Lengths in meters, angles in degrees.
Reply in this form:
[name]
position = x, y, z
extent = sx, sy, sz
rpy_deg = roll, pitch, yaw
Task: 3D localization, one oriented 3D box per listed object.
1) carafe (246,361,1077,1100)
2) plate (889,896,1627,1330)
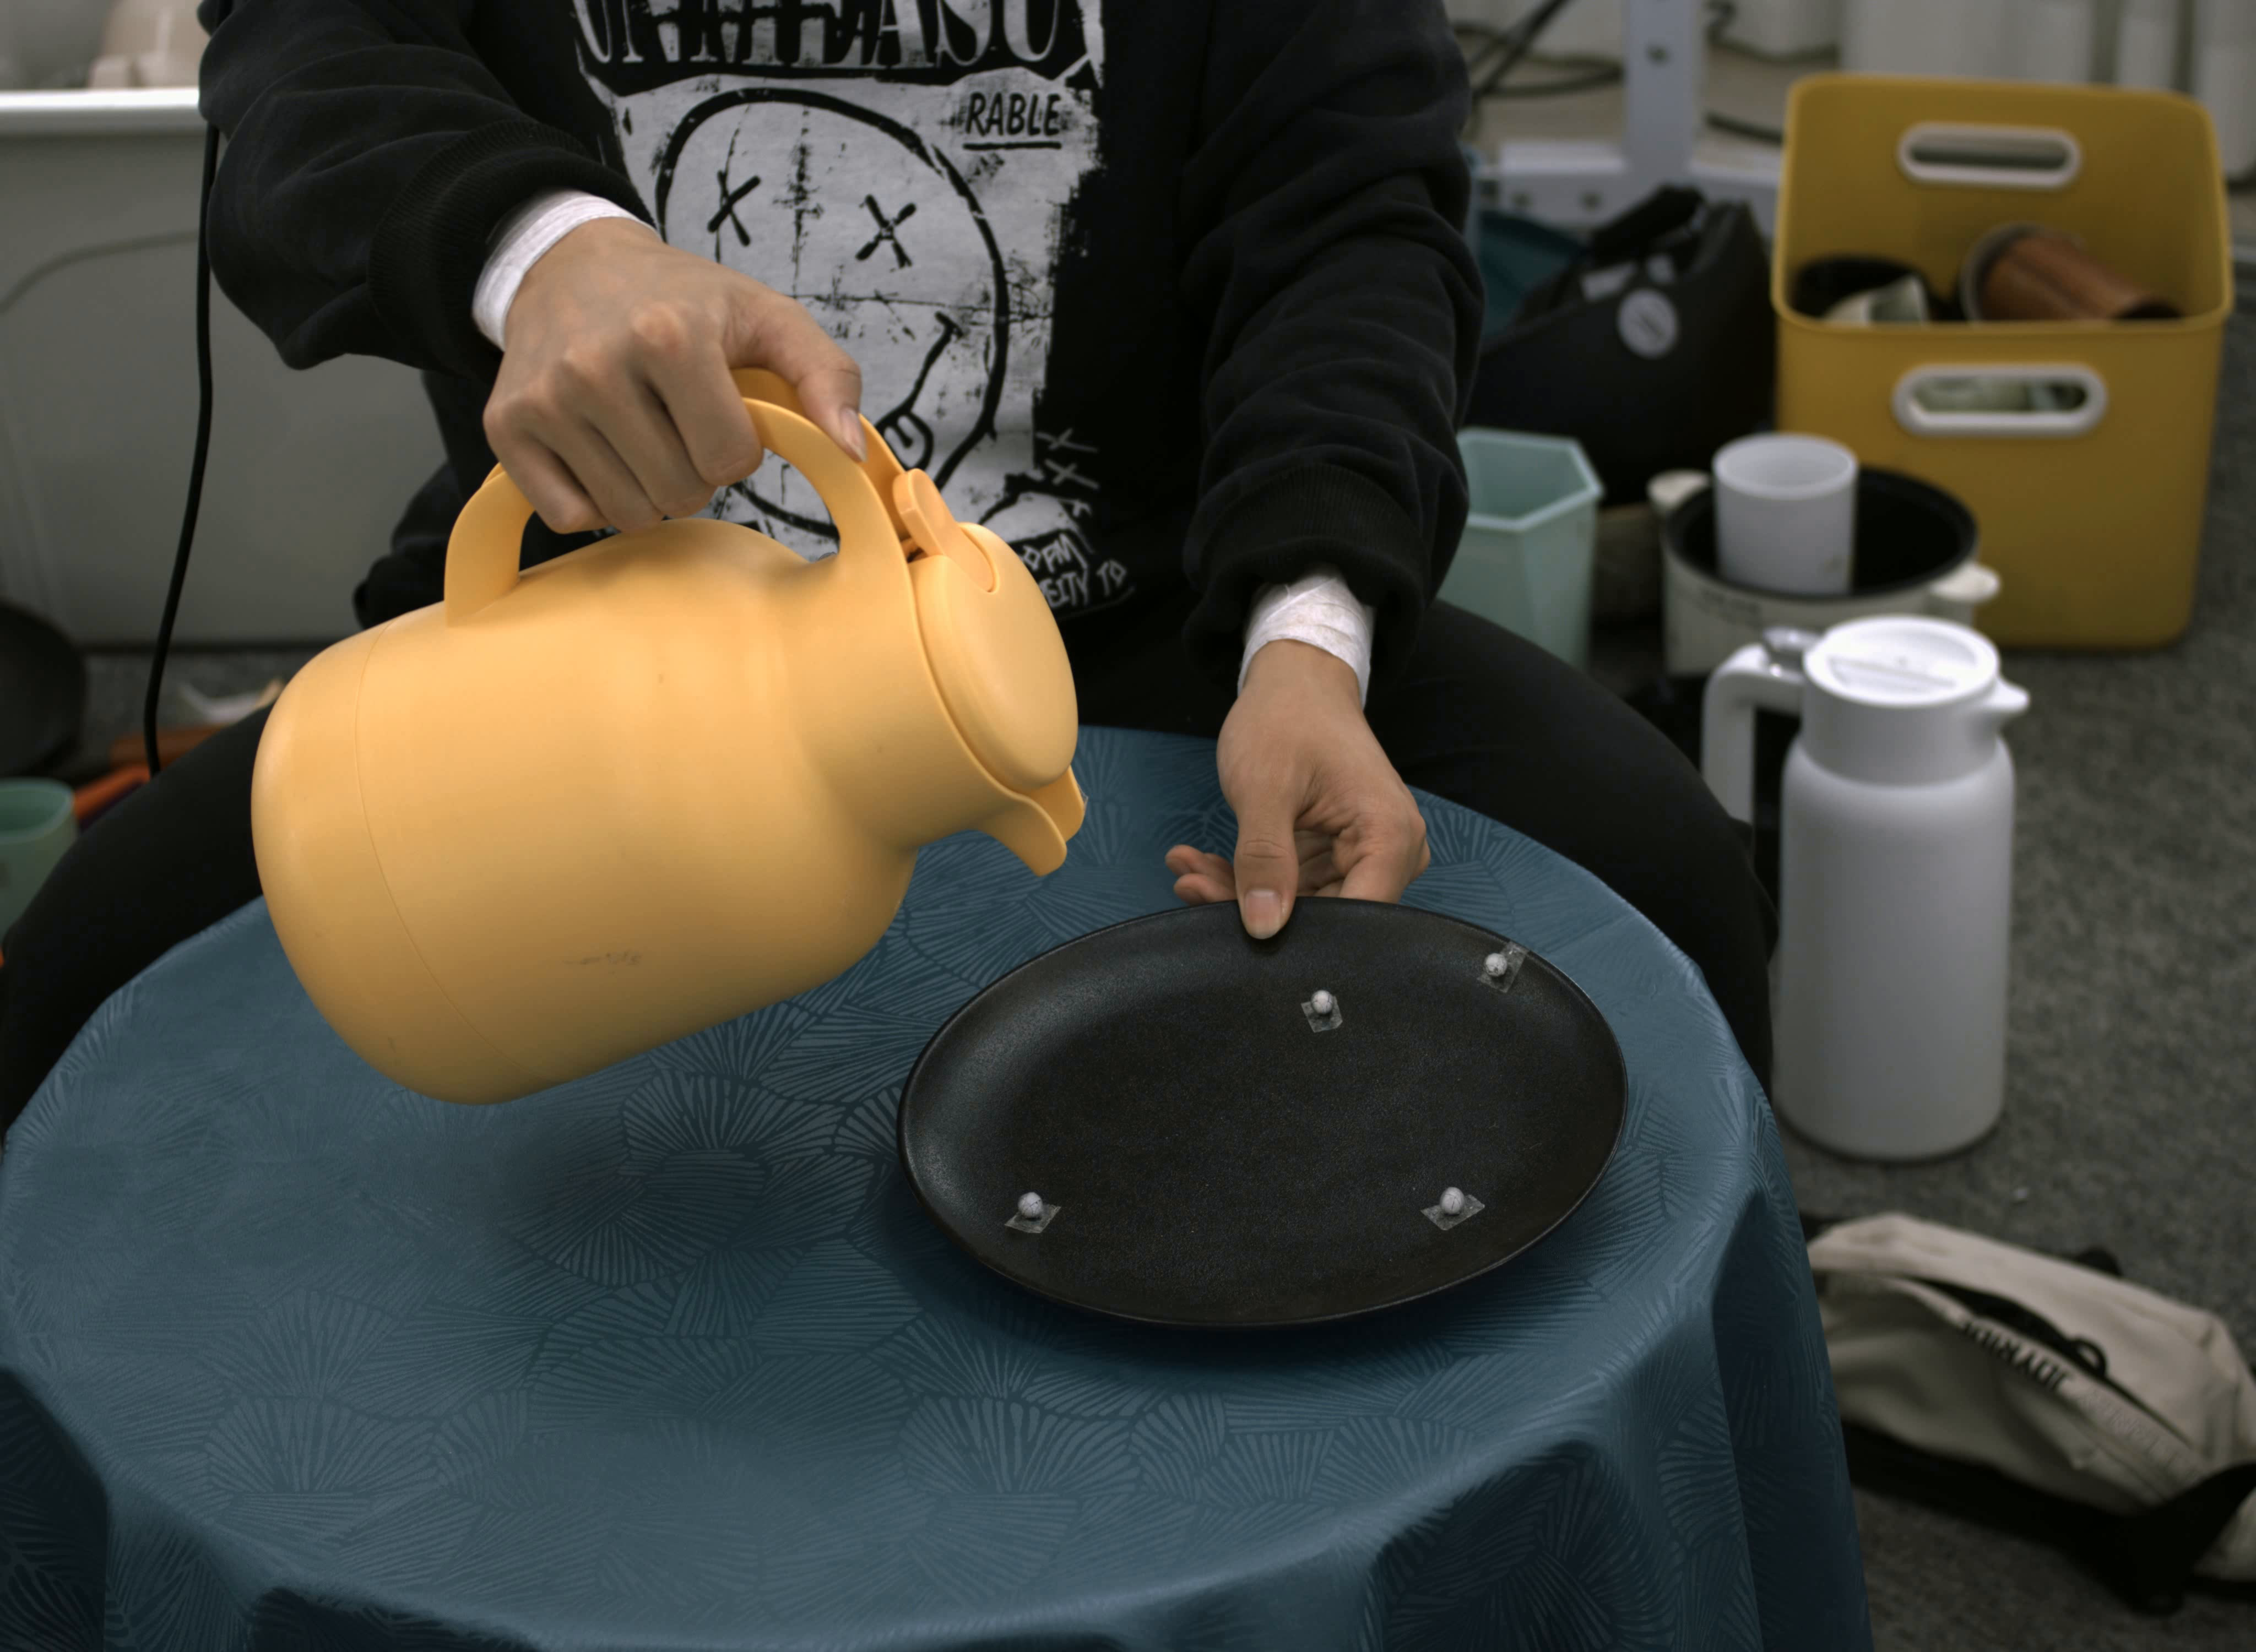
[carafe]
position = -0.153, -0.035, 1.813
extent = 0.257, 0.201, 0.166
rpy_deg = -19, 17, 19
[plate]
position = 0.043, 0.099, 1.857
extent = 0.243, 0.023, 0.248
rpy_deg = -3, 32, 2
